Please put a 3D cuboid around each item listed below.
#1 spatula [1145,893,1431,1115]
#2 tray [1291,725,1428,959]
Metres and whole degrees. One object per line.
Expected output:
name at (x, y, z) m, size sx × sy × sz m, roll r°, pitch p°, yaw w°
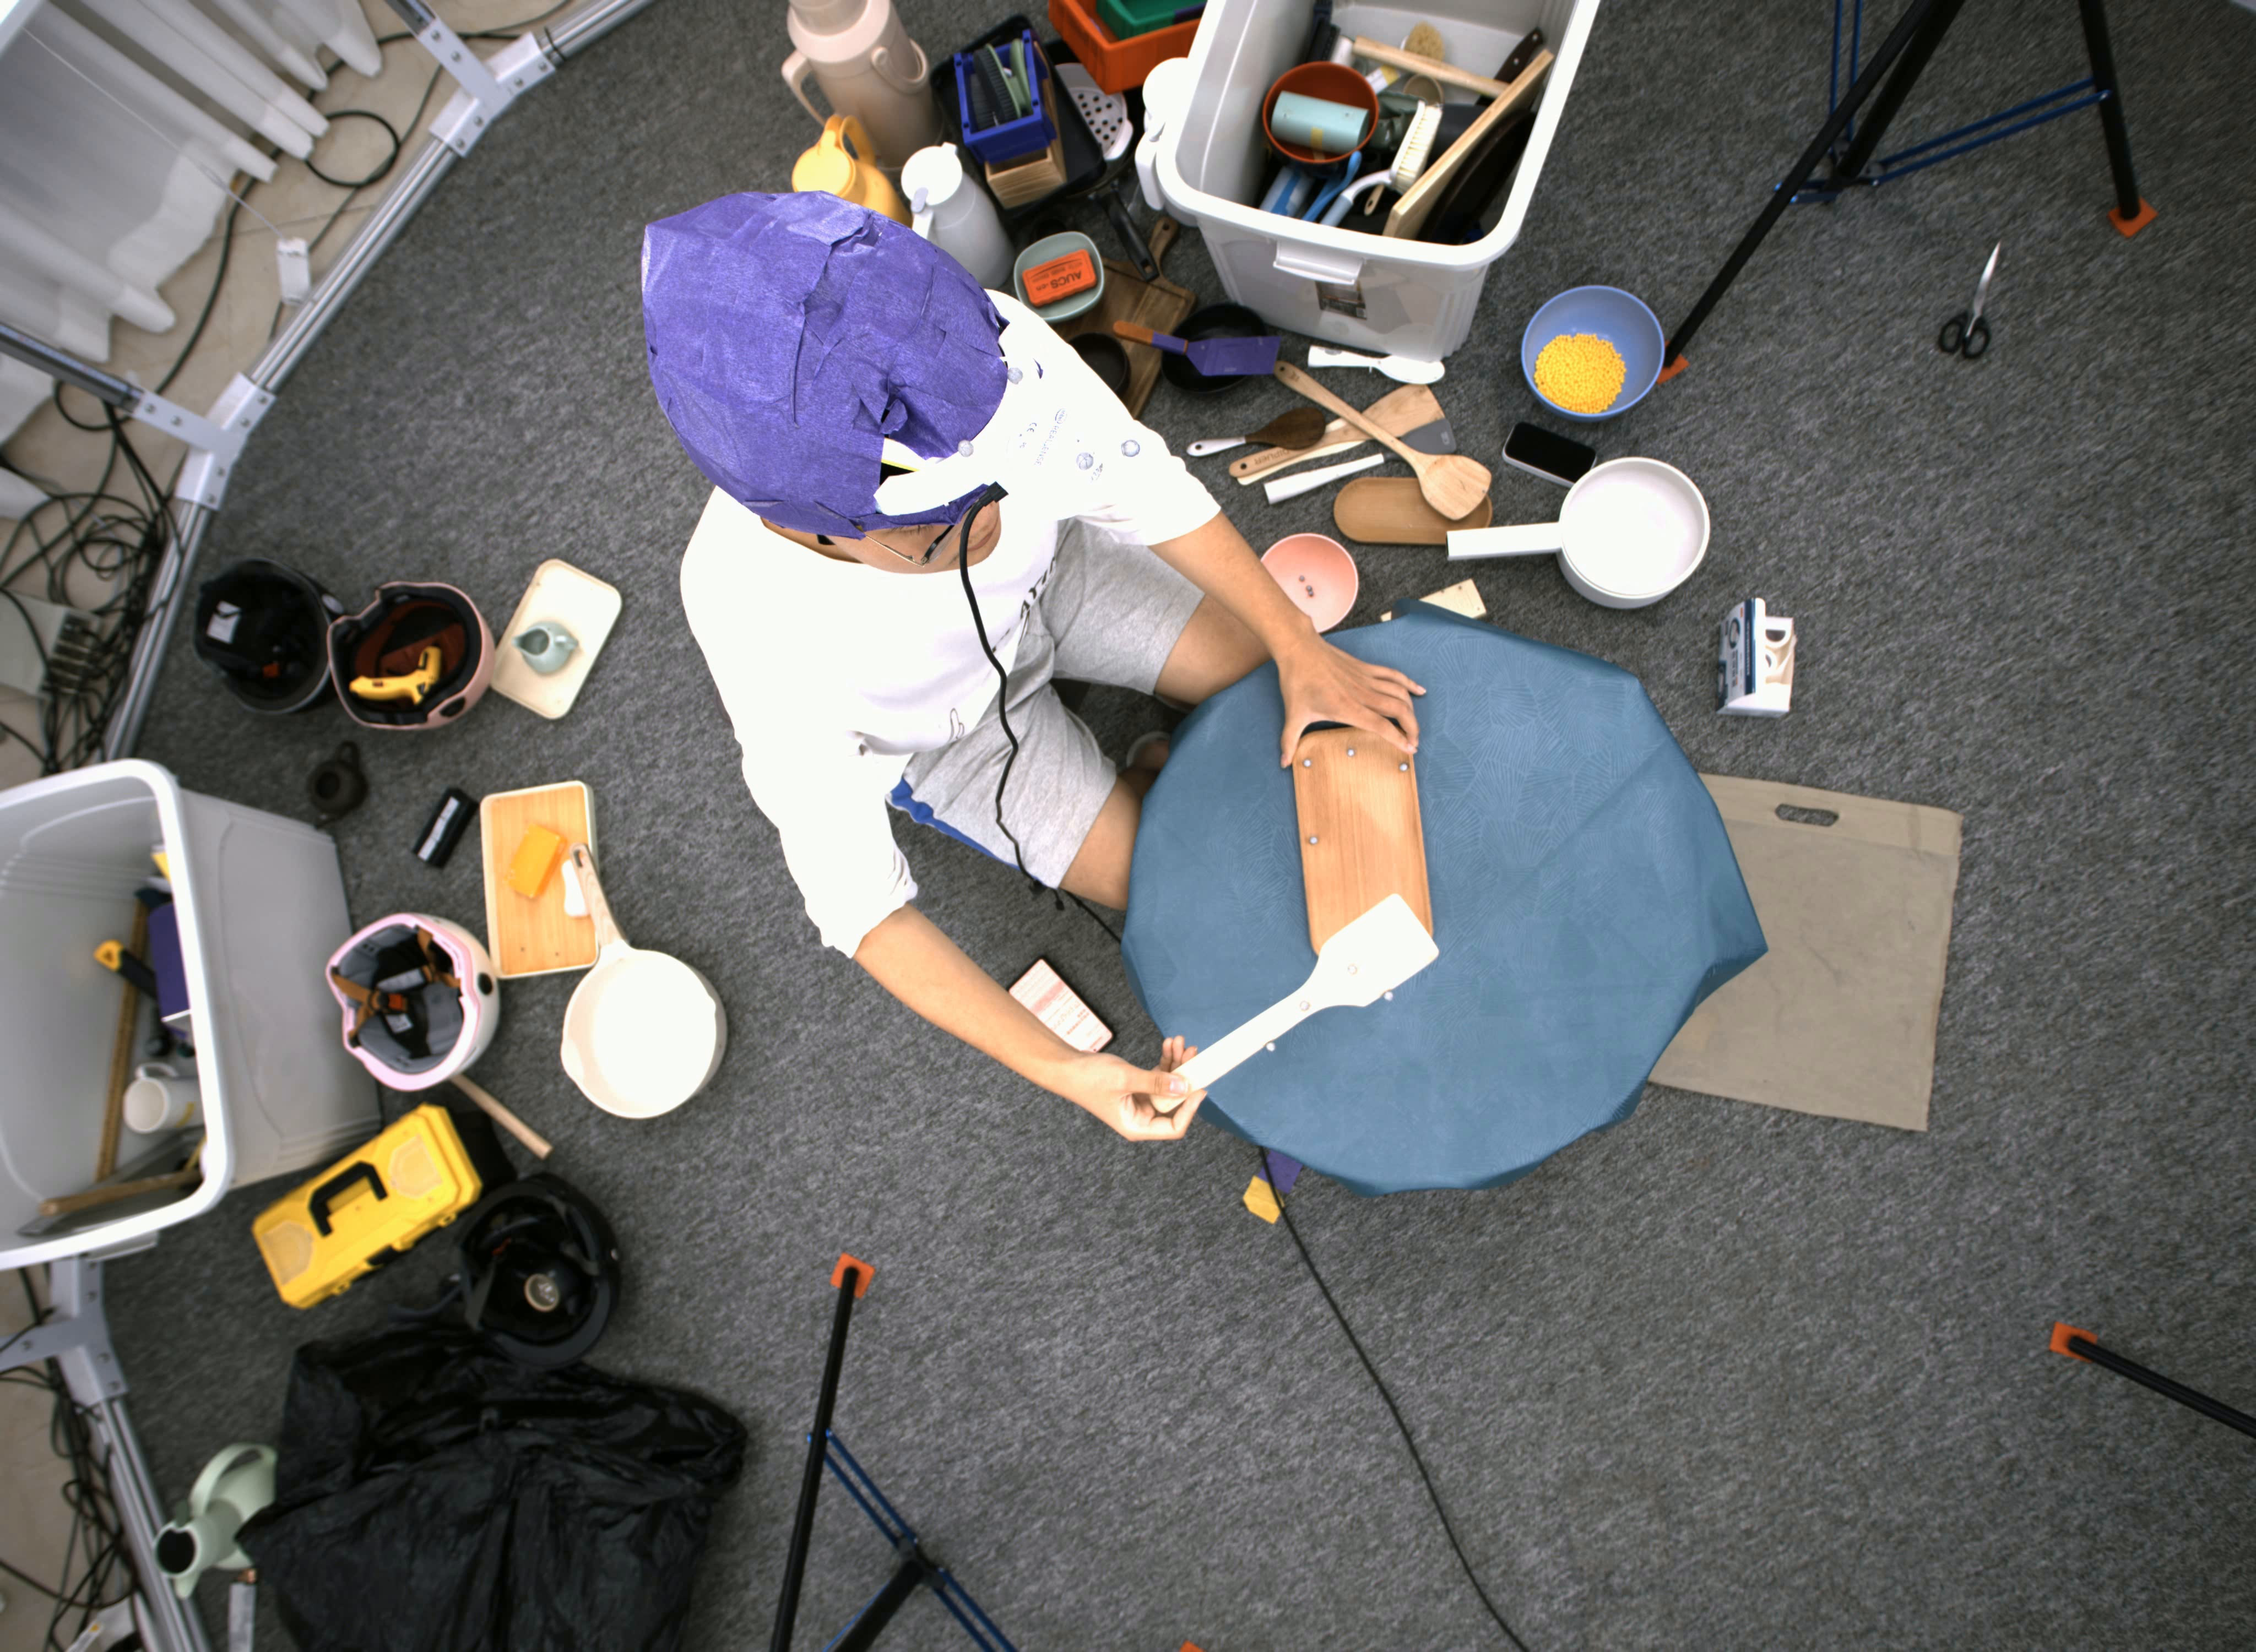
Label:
spatula at (0.137, 0.170, 1.252) m, size 0.295 × 0.011 × 0.071 m, roll -36°, pitch 70°, yaw 7°
tray at (0.244, 0.018, 1.460) m, size 0.131 × 0.023 × 0.249 m, roll -4°, pitch 87°, yaw 13°
